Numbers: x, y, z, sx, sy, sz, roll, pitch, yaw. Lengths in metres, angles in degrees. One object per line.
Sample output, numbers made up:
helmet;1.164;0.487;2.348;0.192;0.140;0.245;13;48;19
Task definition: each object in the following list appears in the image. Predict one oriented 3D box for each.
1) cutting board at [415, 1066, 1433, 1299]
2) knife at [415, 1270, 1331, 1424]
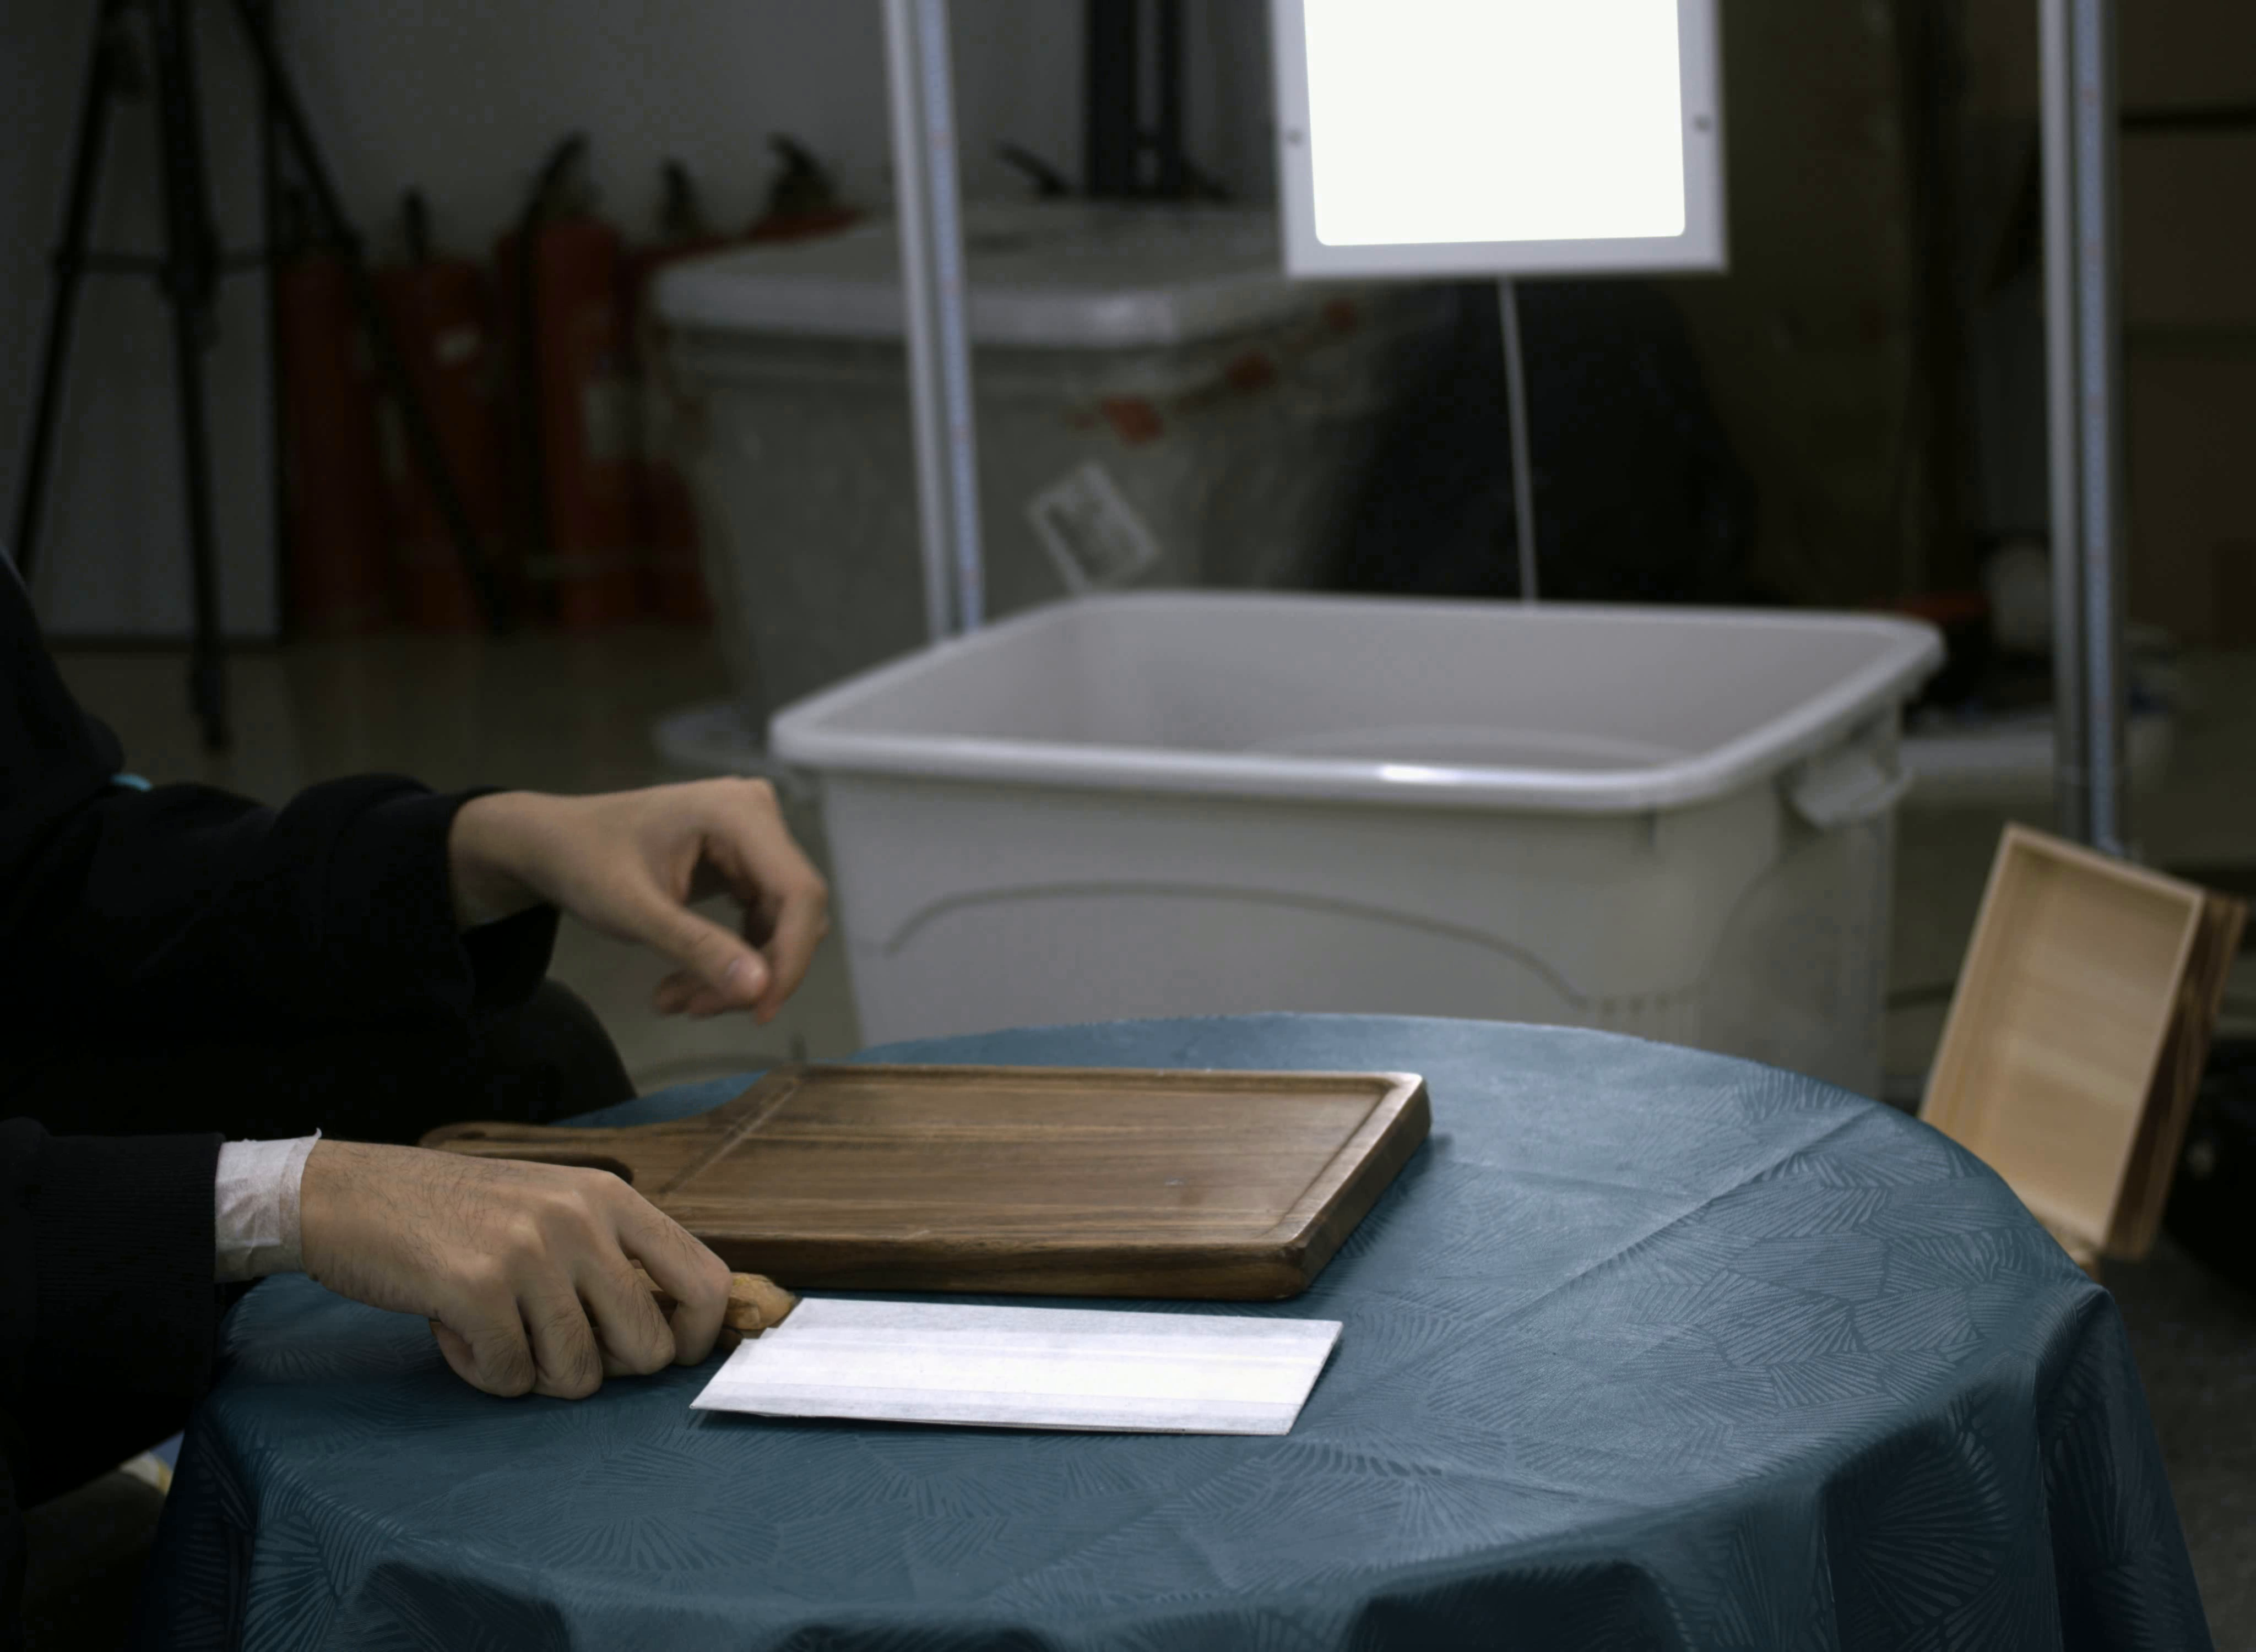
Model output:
cutting board;-0.083;0.120;1.910;0.356;0.023;0.198;-1;15;19
knife;-0.088;0.166;1.736;0.309;0.021;0.091;1;18;16
